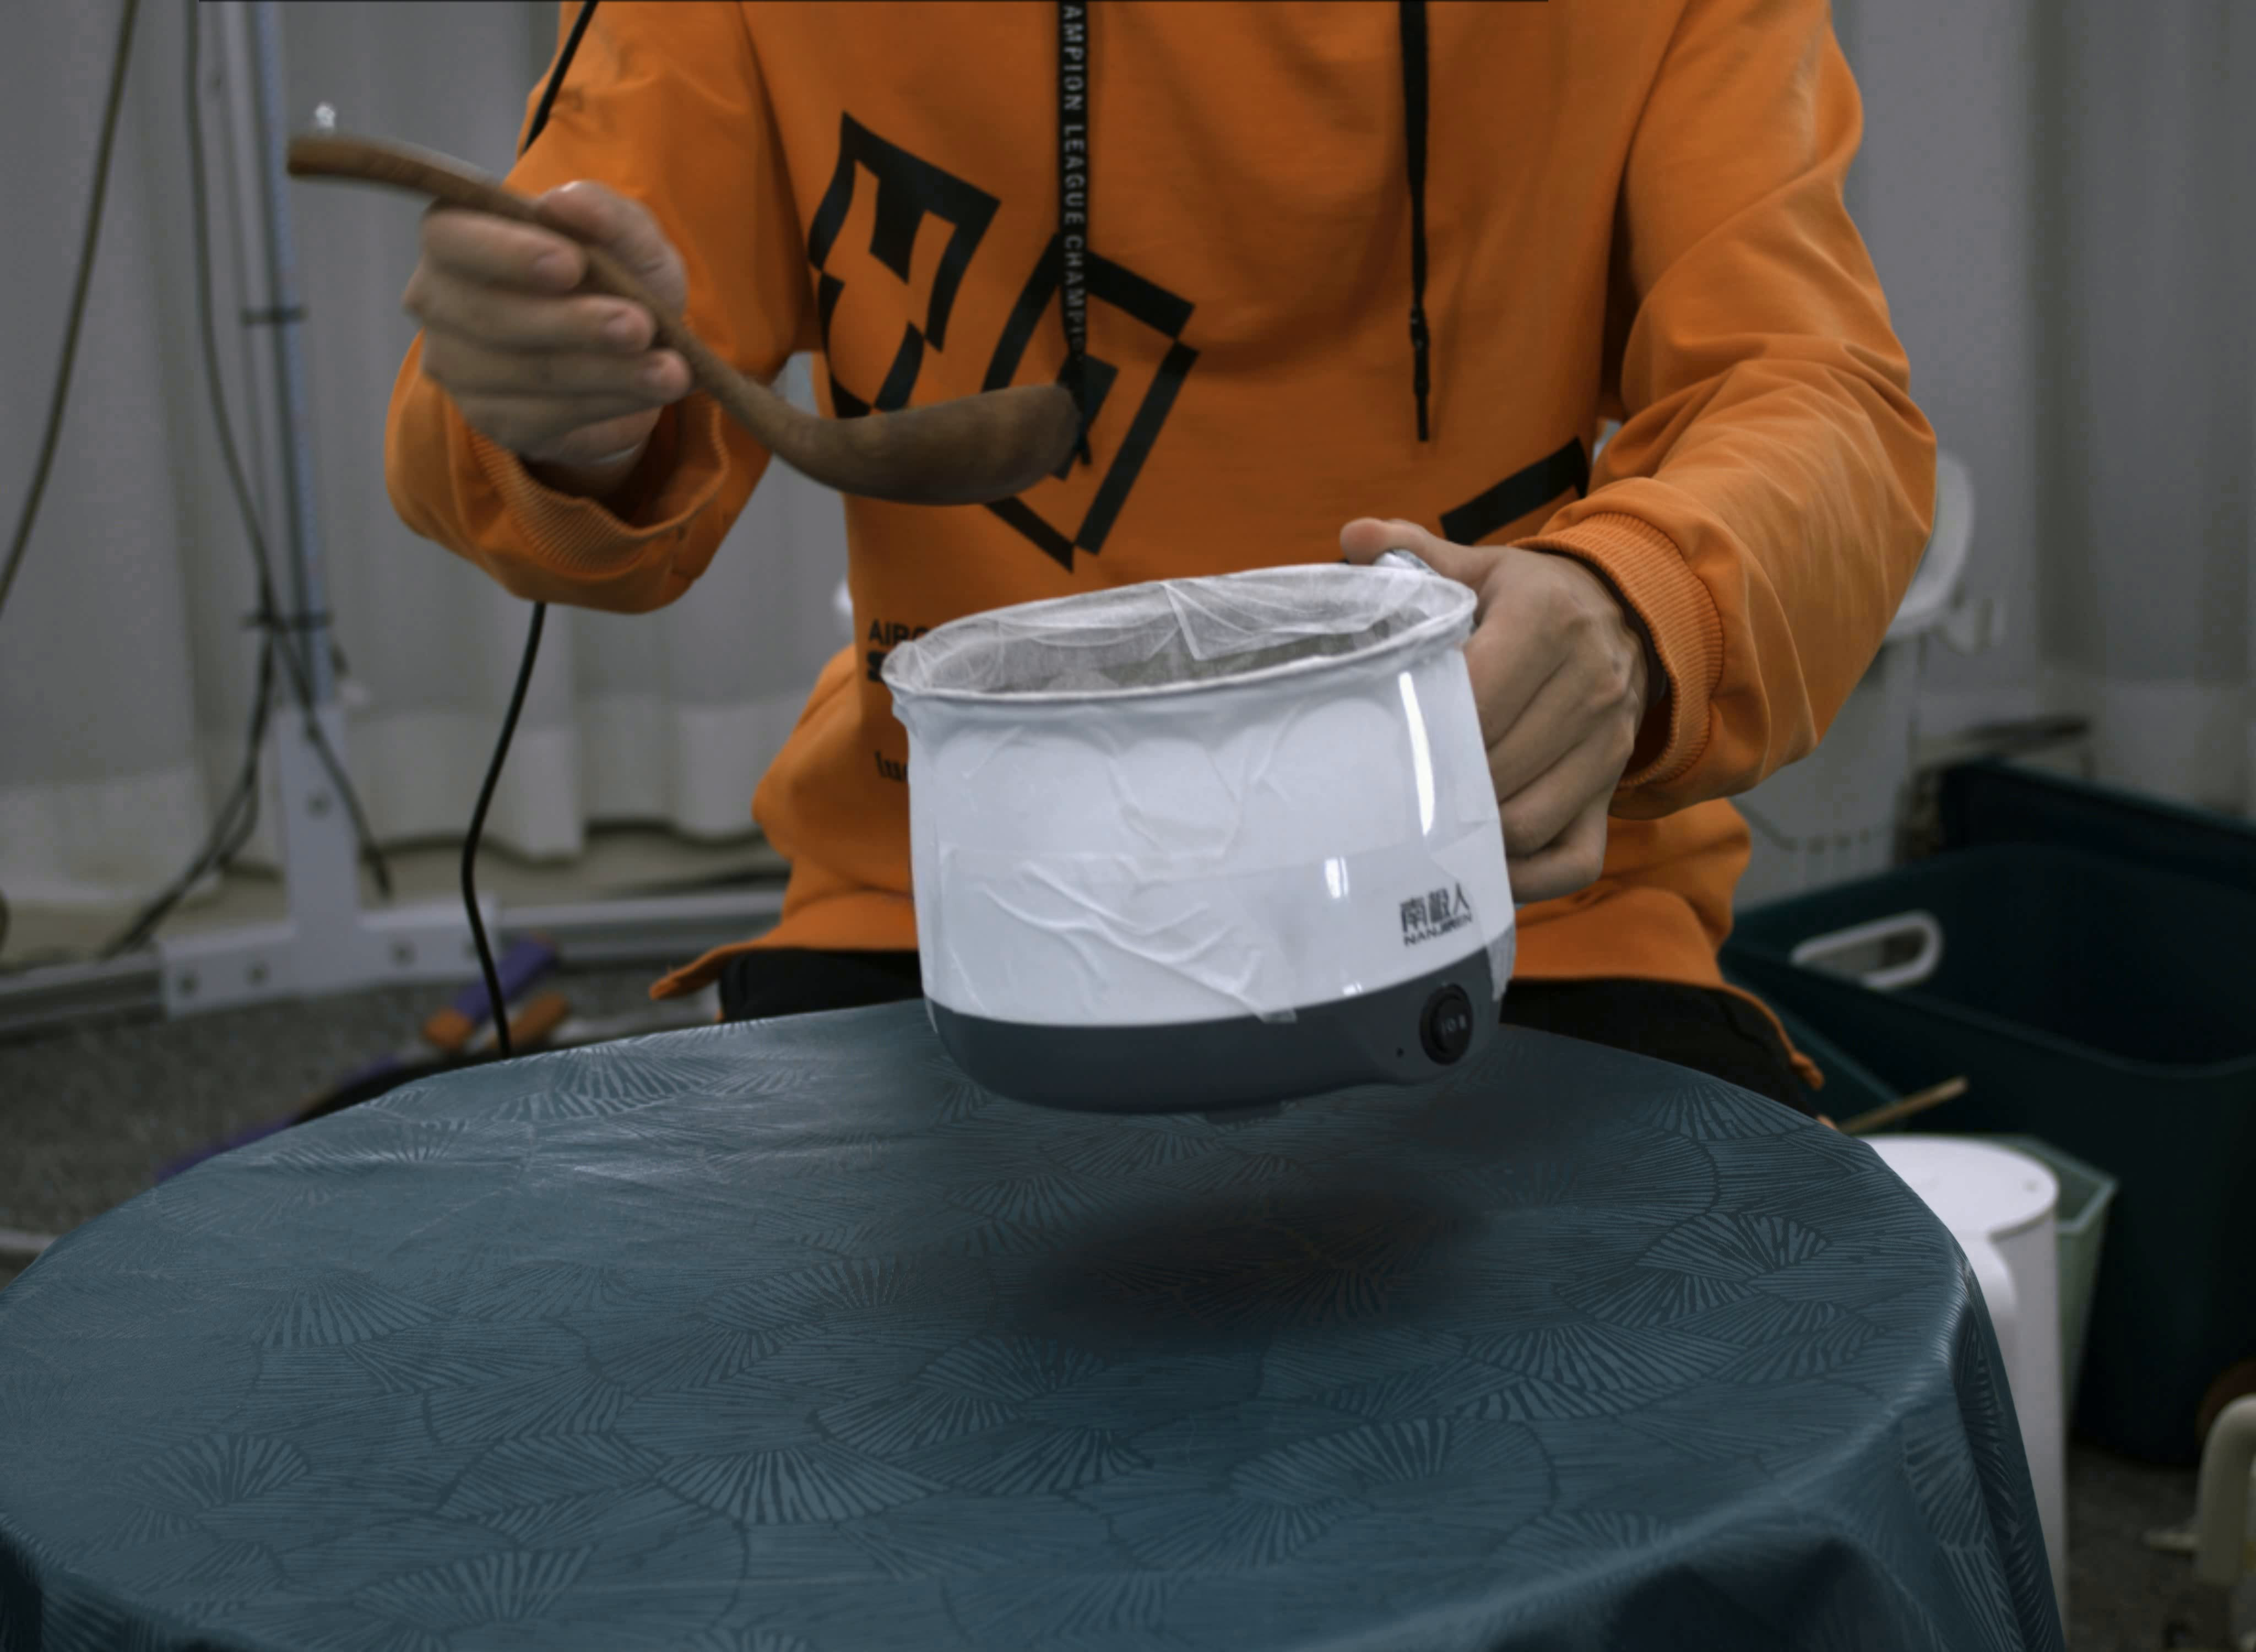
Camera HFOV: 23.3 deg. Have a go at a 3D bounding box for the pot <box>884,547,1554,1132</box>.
[{"bbox_3d":[0.041,-0.002,1.634,0.179,0.136,0.233,4,17,41],"label":"pot"}]

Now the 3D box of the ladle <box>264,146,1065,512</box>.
[{"bbox_3d":[-0.139,-0.162,1.647,0.261,0.065,0.076,30,0,12],"label":"ladle"}]
